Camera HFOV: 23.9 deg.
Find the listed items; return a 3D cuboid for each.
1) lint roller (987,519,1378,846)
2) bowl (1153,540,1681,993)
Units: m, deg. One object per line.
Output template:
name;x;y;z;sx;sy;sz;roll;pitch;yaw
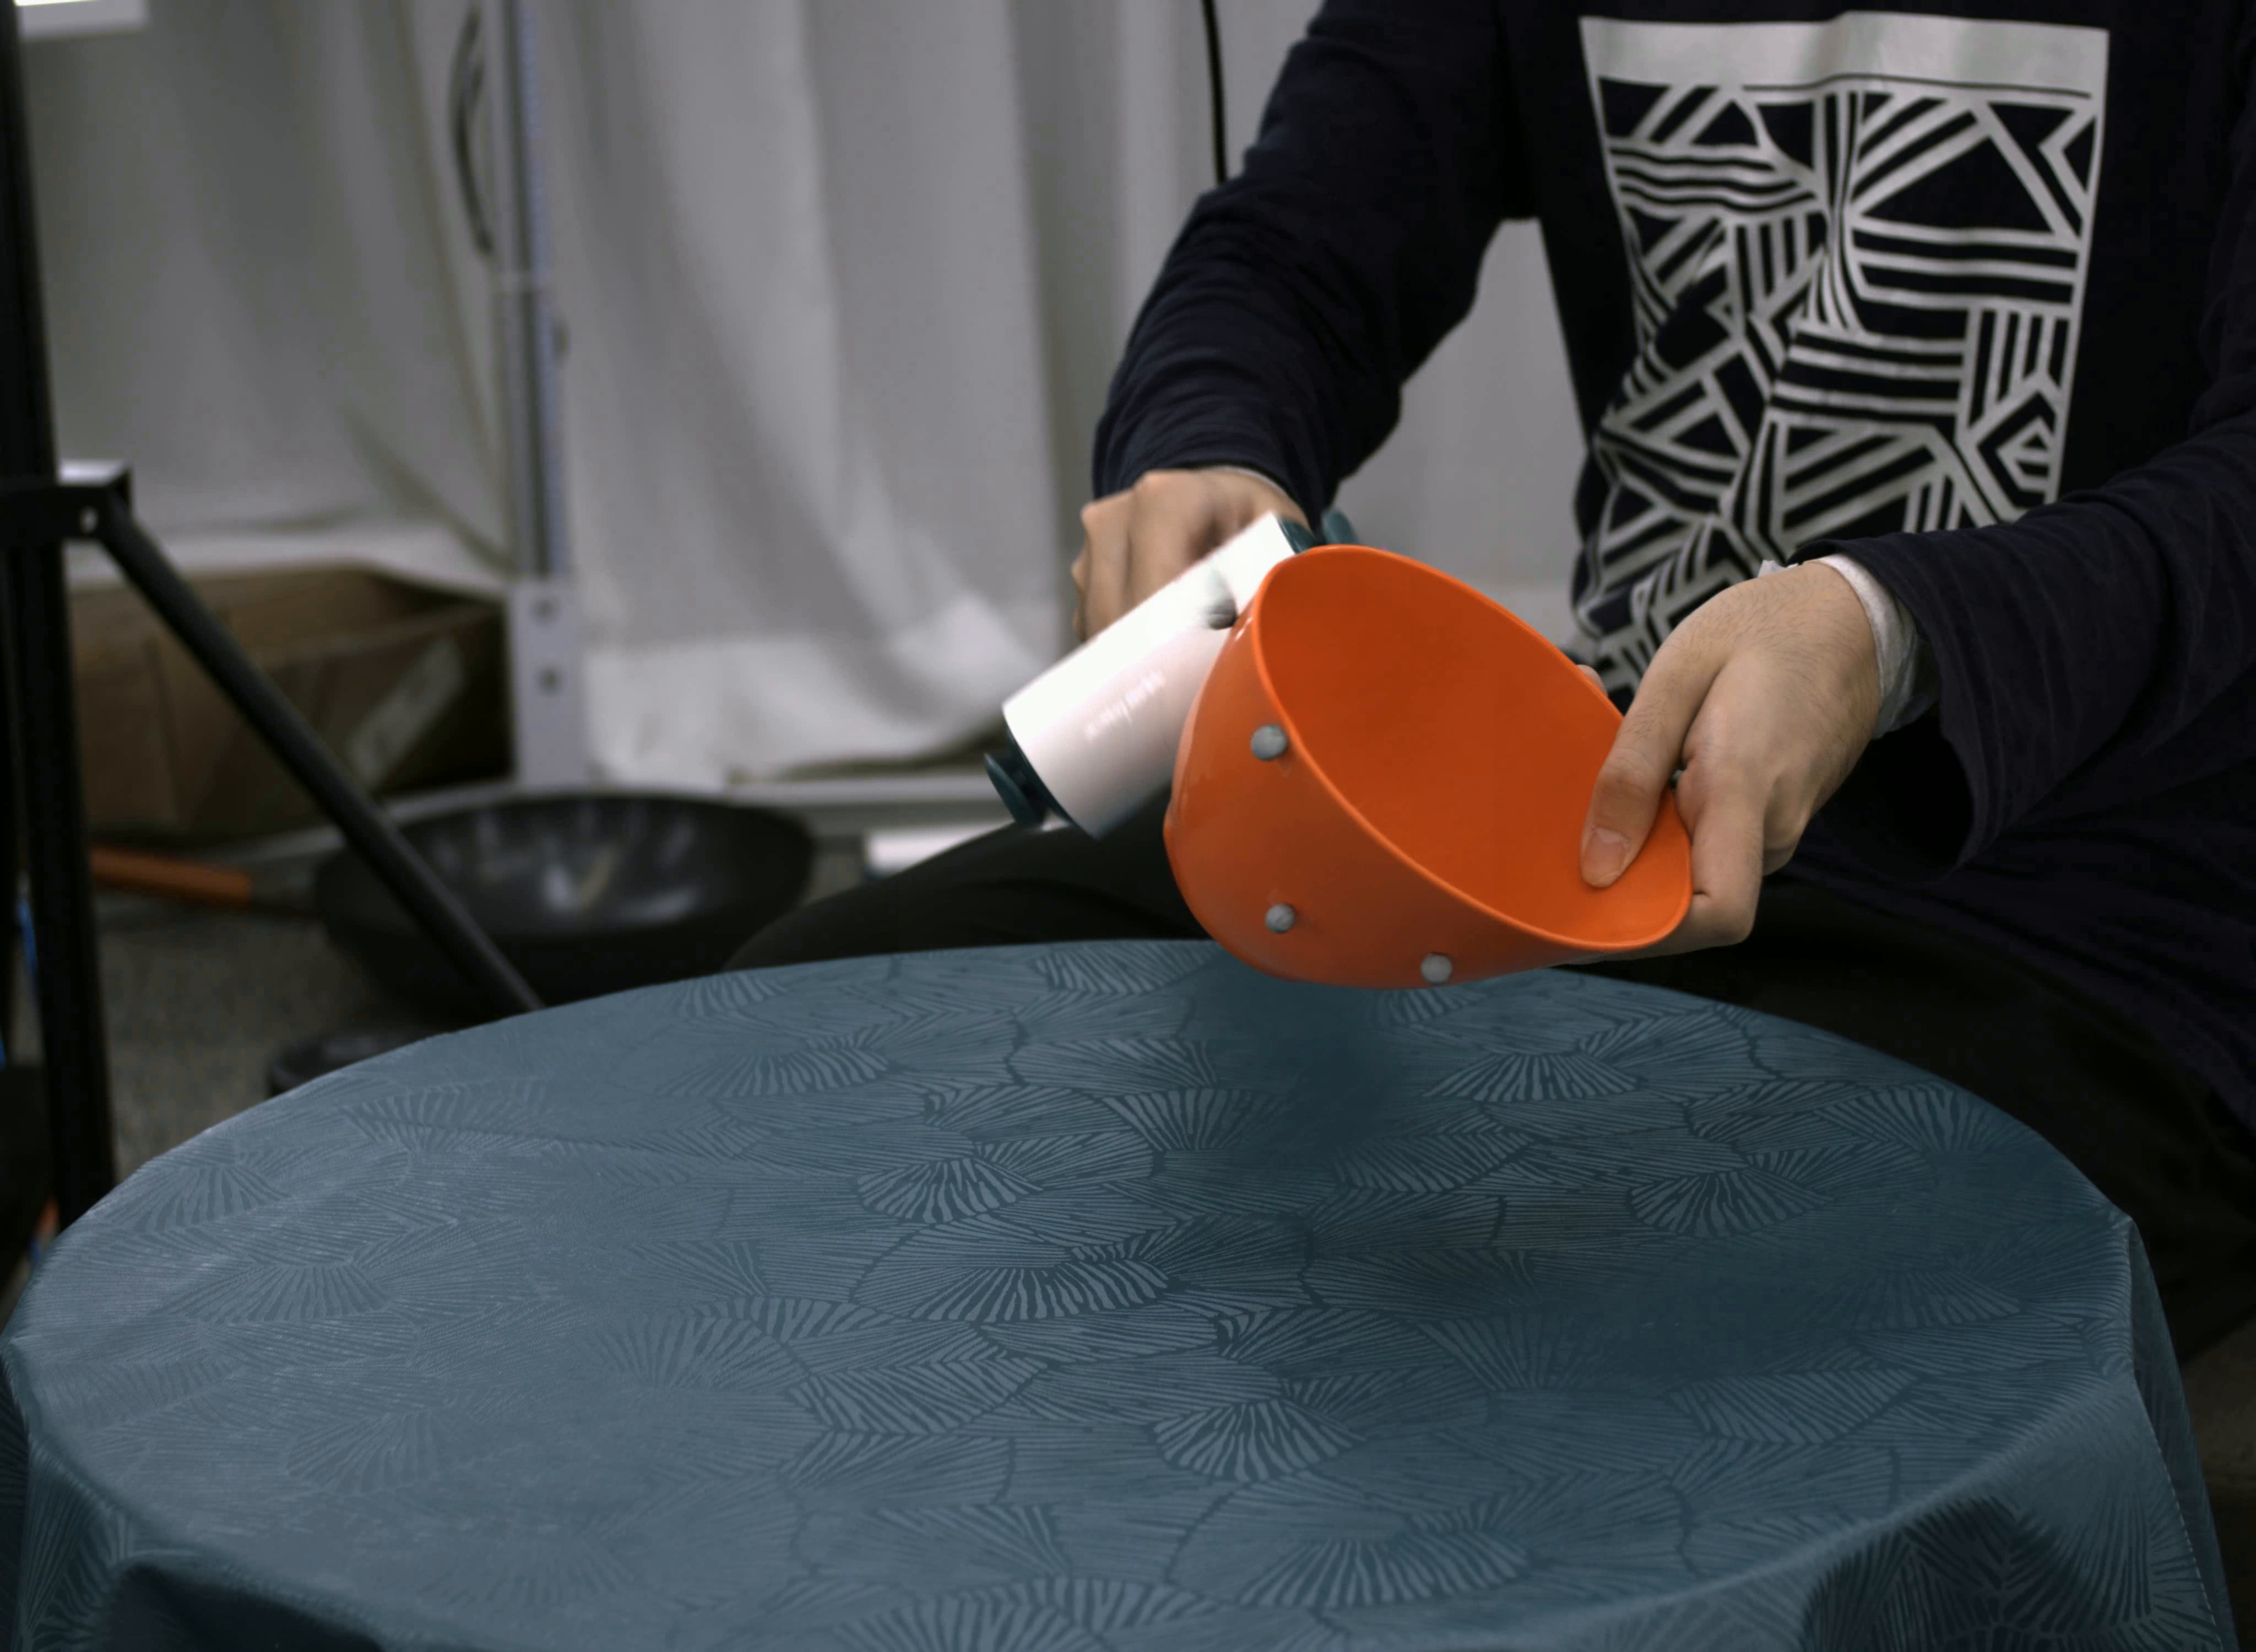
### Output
lint roller;0.020;-0.056;1.633;0.135;0.048;0.180;-36;10;9
bowl;0.068;-0.001;1.475;0.106;0.149;0.145;-40;-9;35
